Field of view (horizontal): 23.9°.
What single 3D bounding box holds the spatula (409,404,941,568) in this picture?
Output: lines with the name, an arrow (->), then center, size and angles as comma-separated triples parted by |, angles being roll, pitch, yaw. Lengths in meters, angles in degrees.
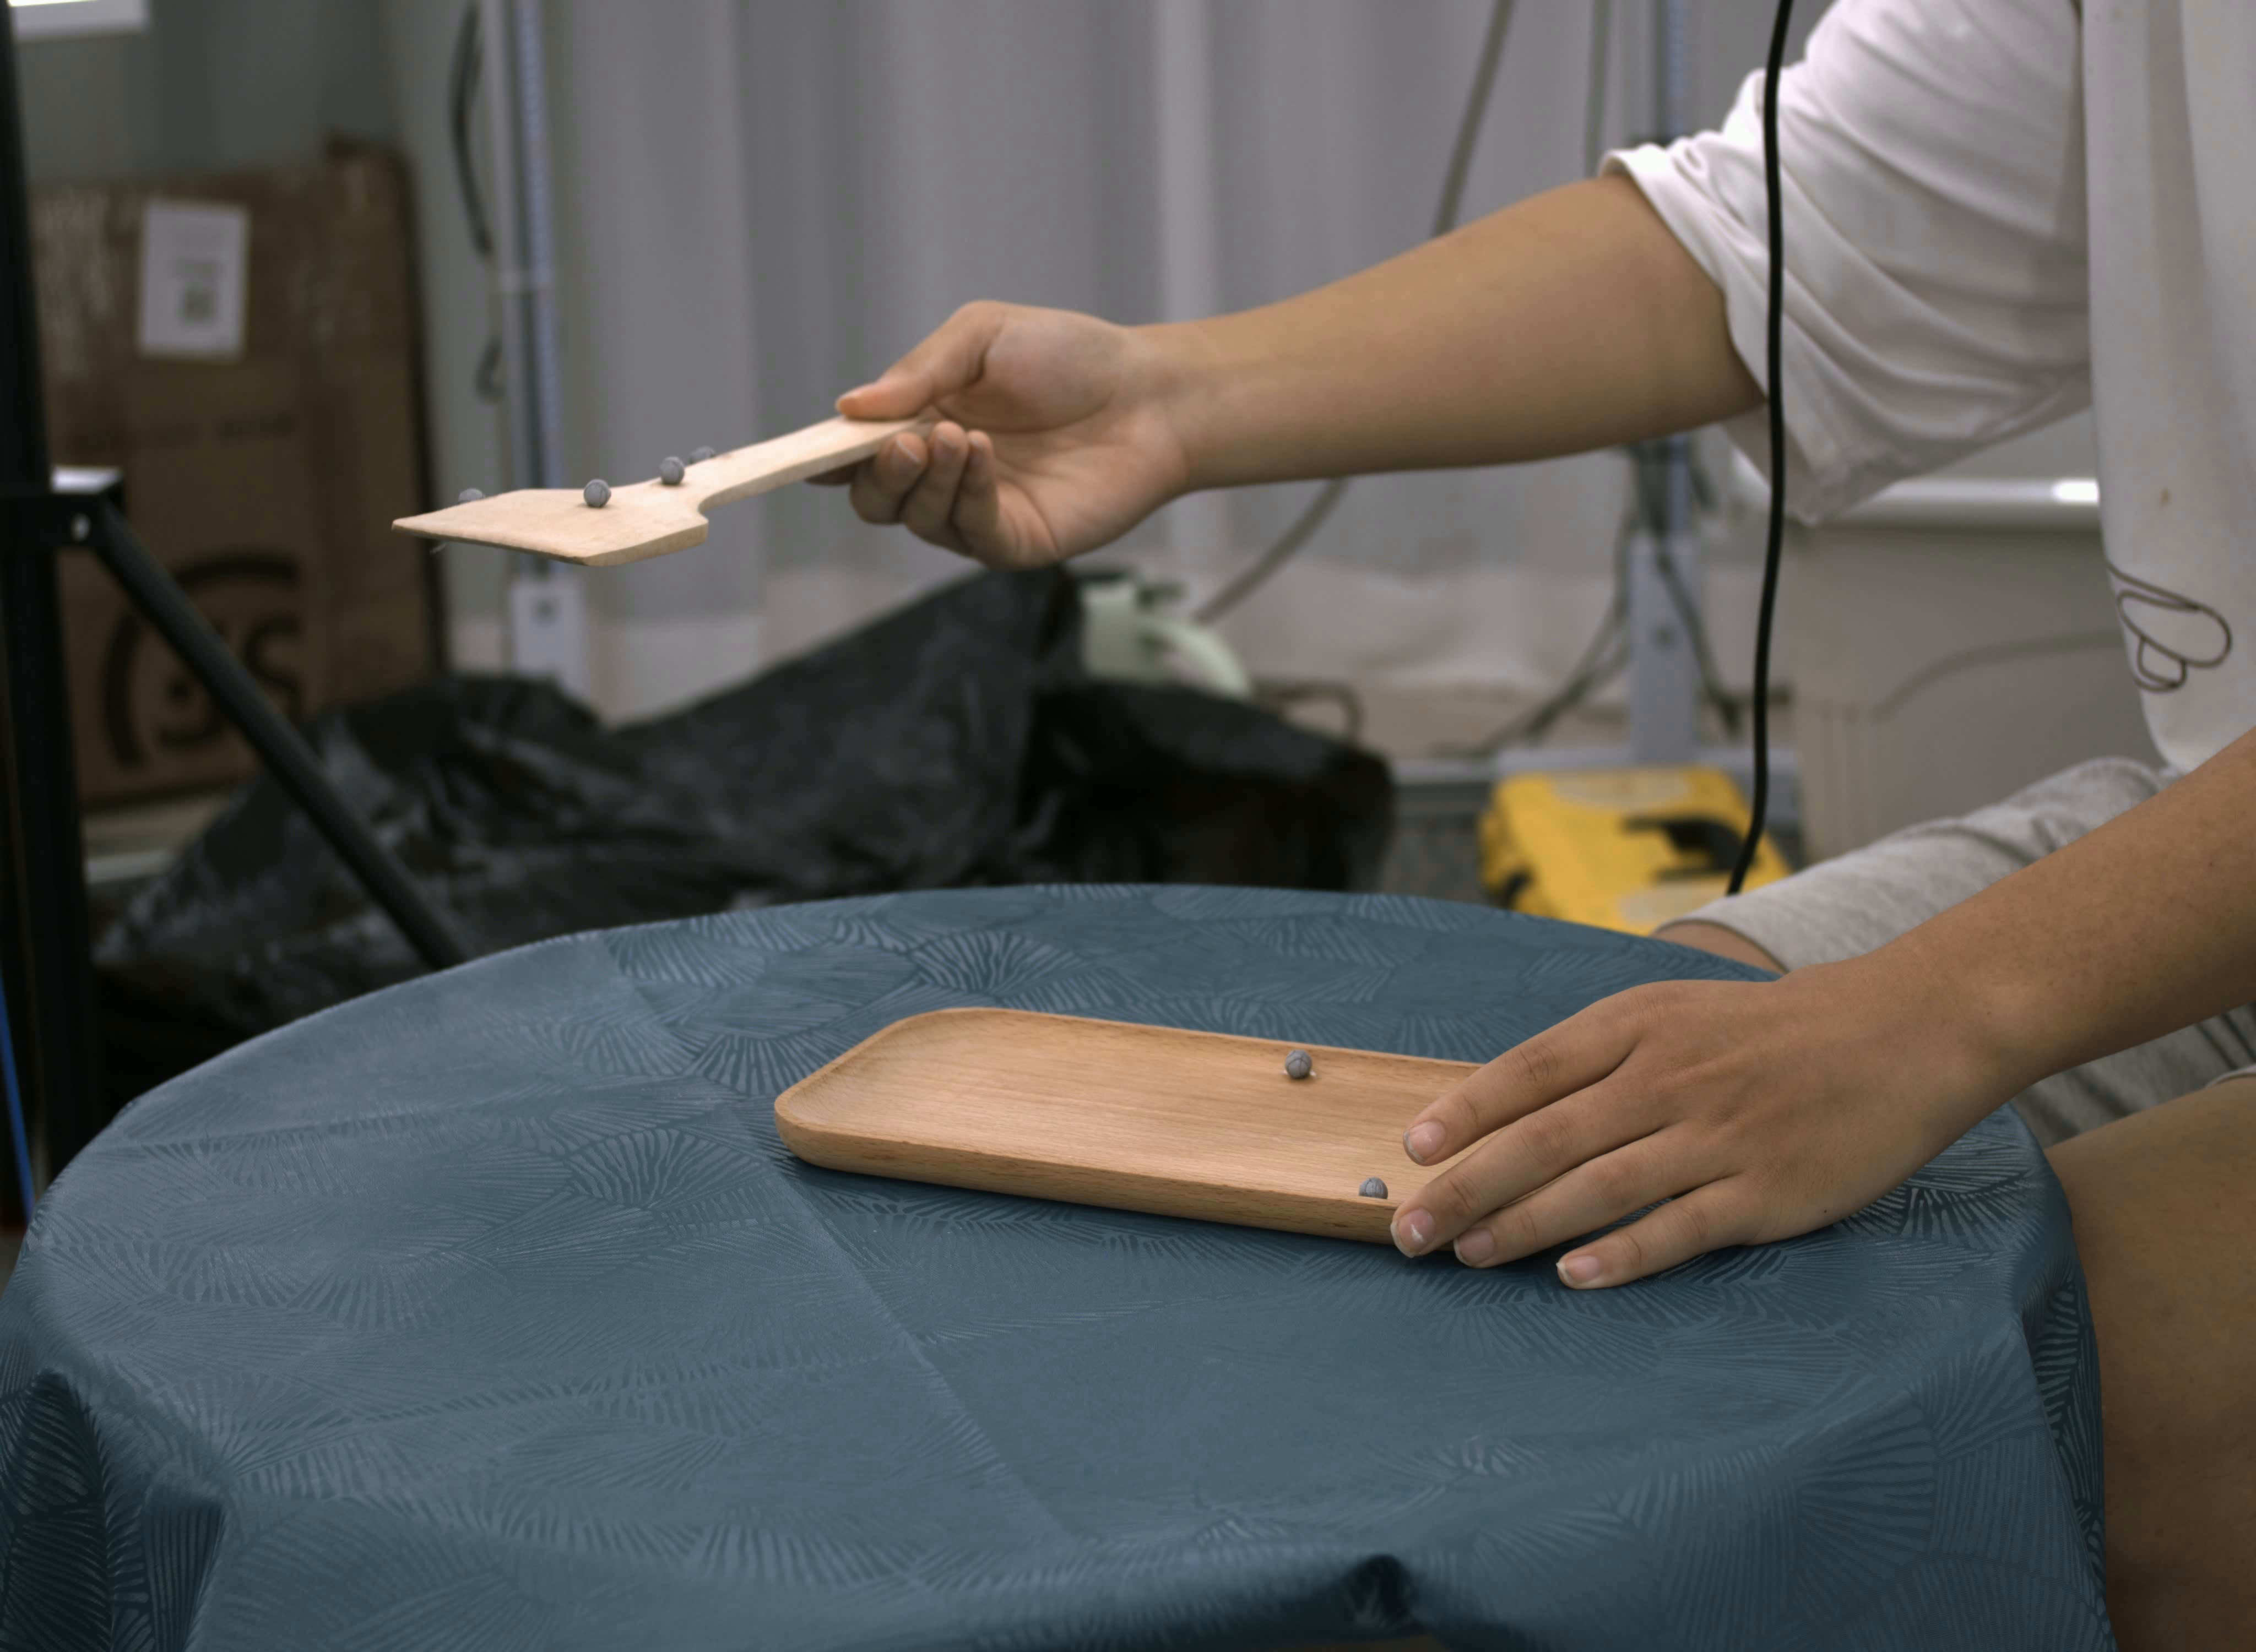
spatula -> -0.132, -0.112, 1.725 | 0.073, 0.010, 0.288 | 9, 16, 22

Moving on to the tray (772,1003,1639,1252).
tray -> 0.023, 0.089, 1.594 | 0.255, 0.023, 0.128 | 5, 15, 28
